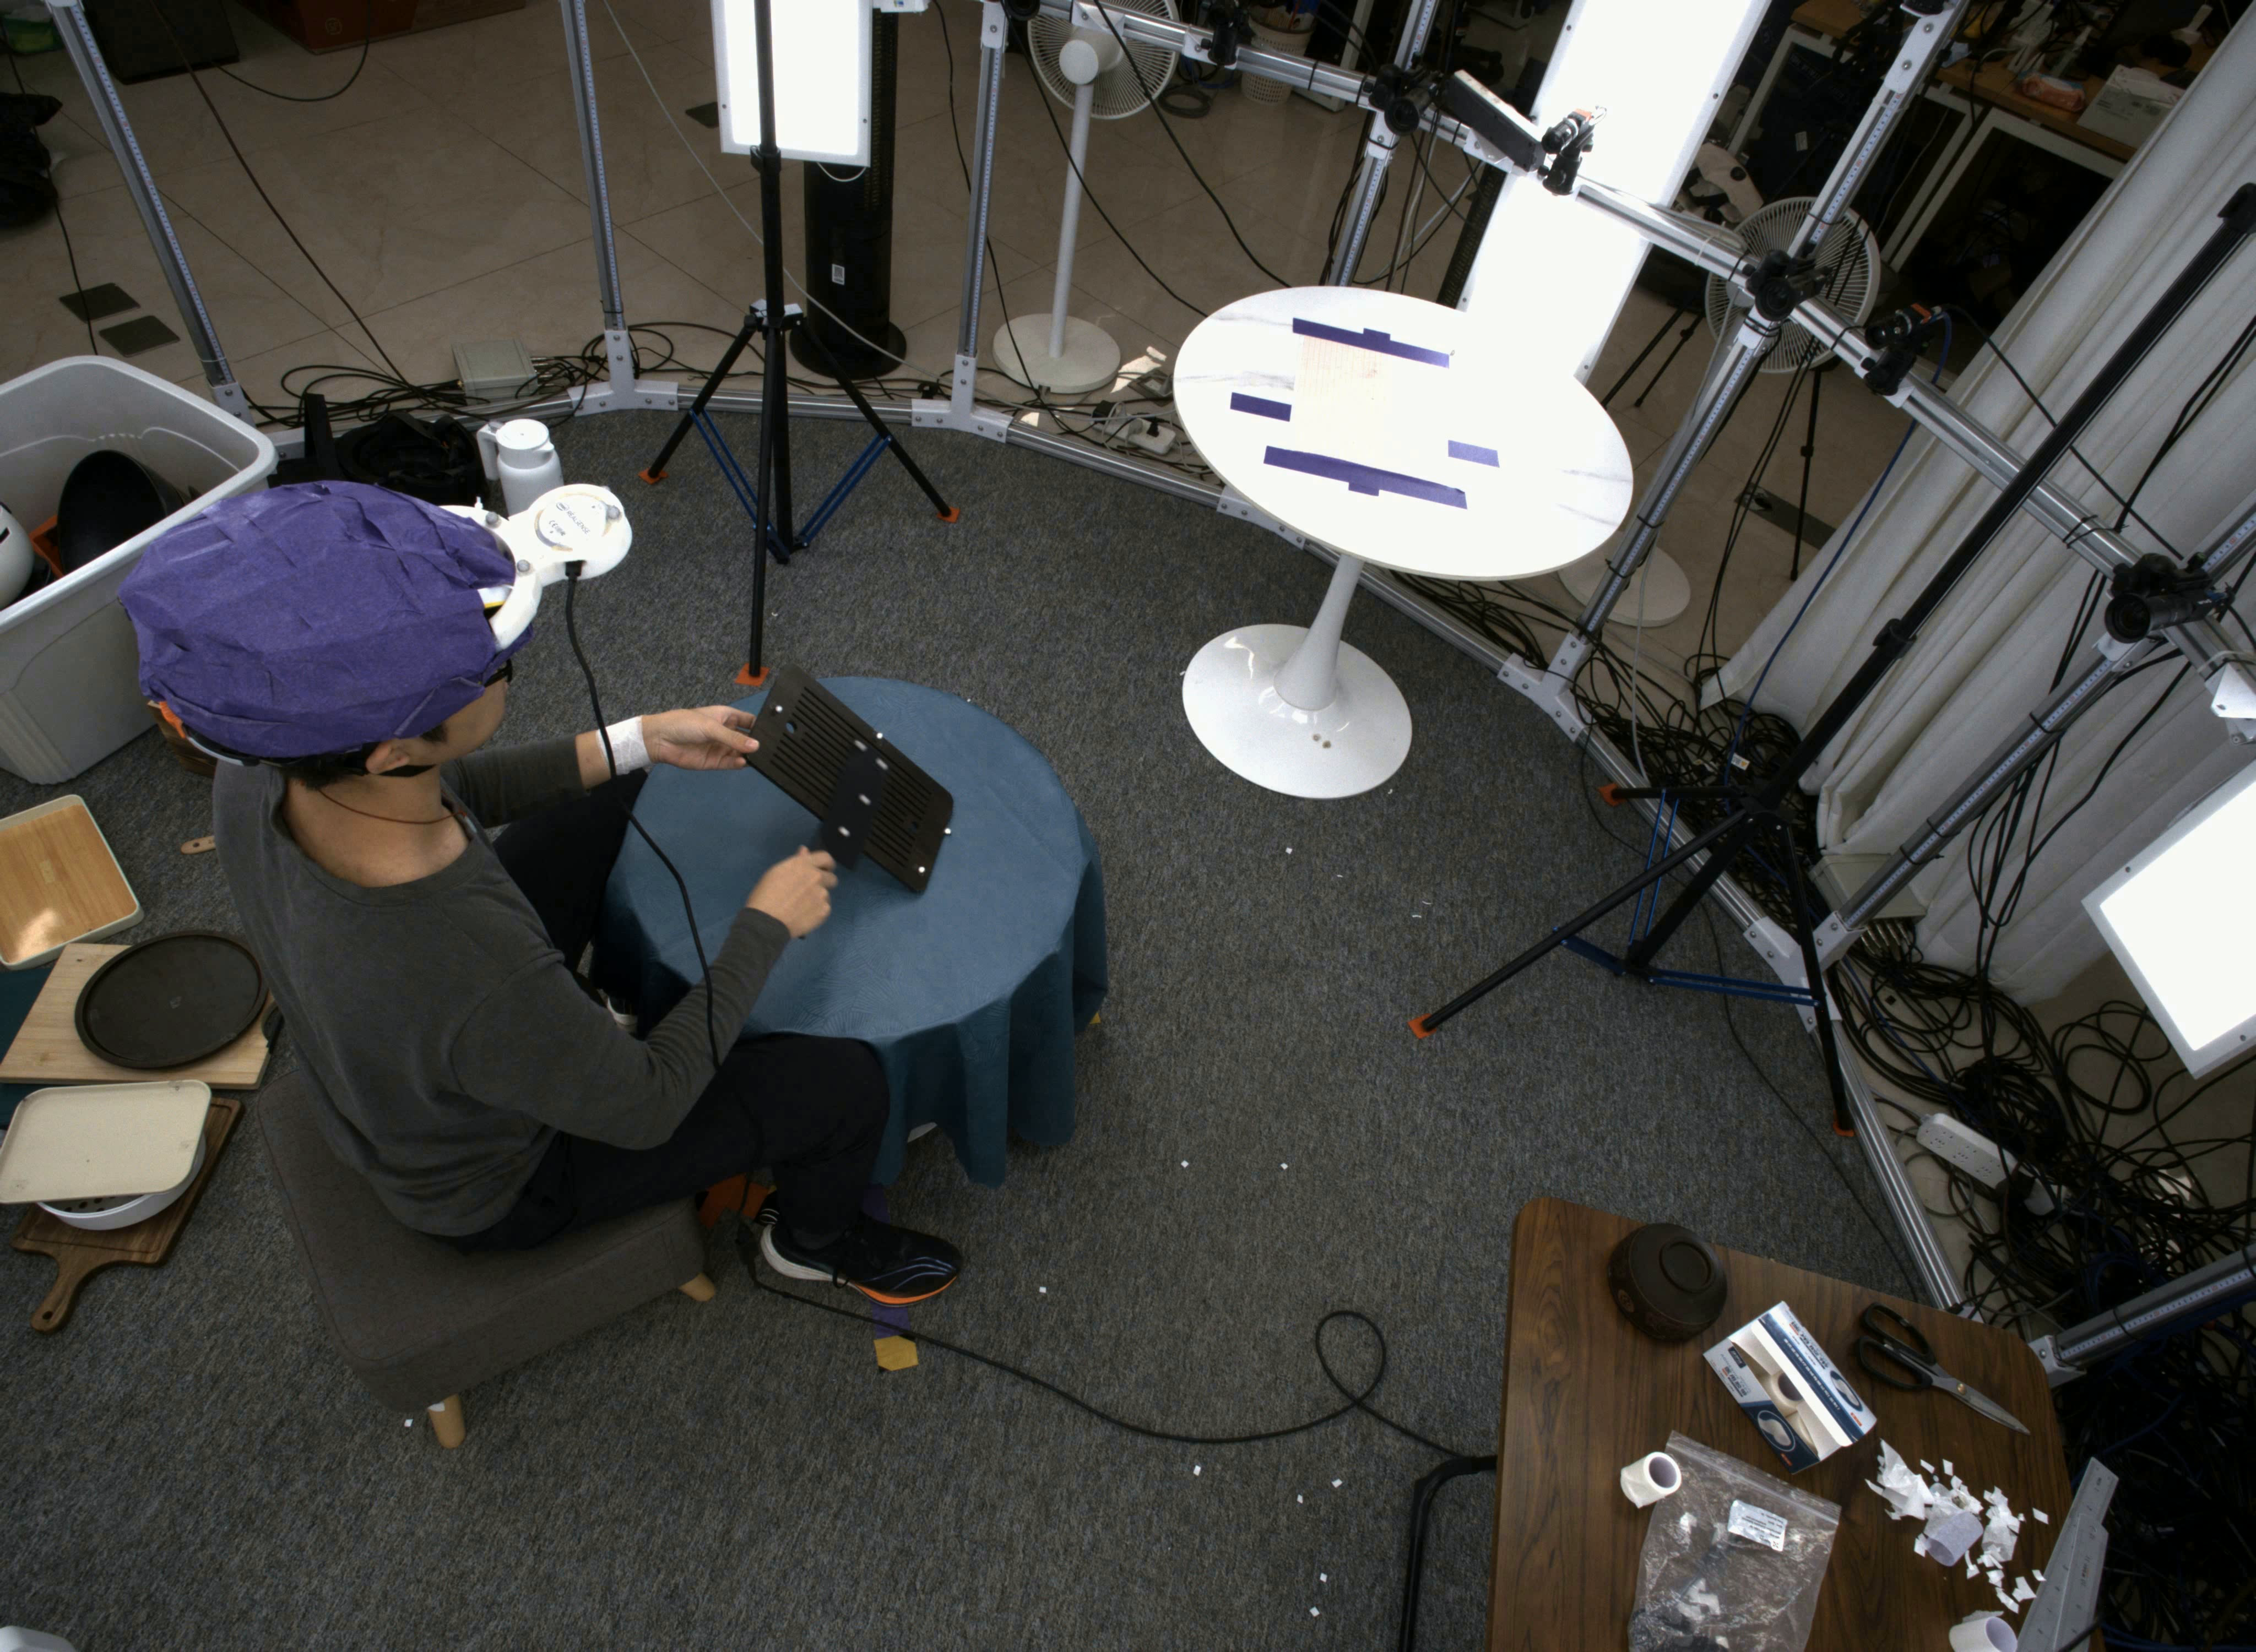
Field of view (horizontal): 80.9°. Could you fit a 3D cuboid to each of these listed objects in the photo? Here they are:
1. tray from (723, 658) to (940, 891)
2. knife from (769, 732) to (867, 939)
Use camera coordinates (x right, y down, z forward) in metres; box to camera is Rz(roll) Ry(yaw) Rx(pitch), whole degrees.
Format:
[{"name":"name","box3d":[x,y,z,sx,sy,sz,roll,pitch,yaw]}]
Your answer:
[{"name":"tray","box3d":[-0.373,-0.062,1.665,0.316,0.018,0.168,42,44,-34]},{"name":"knife","box3d":[-0.381,0.010,1.601,0.084,0.020,0.298,44,42,-33]}]
